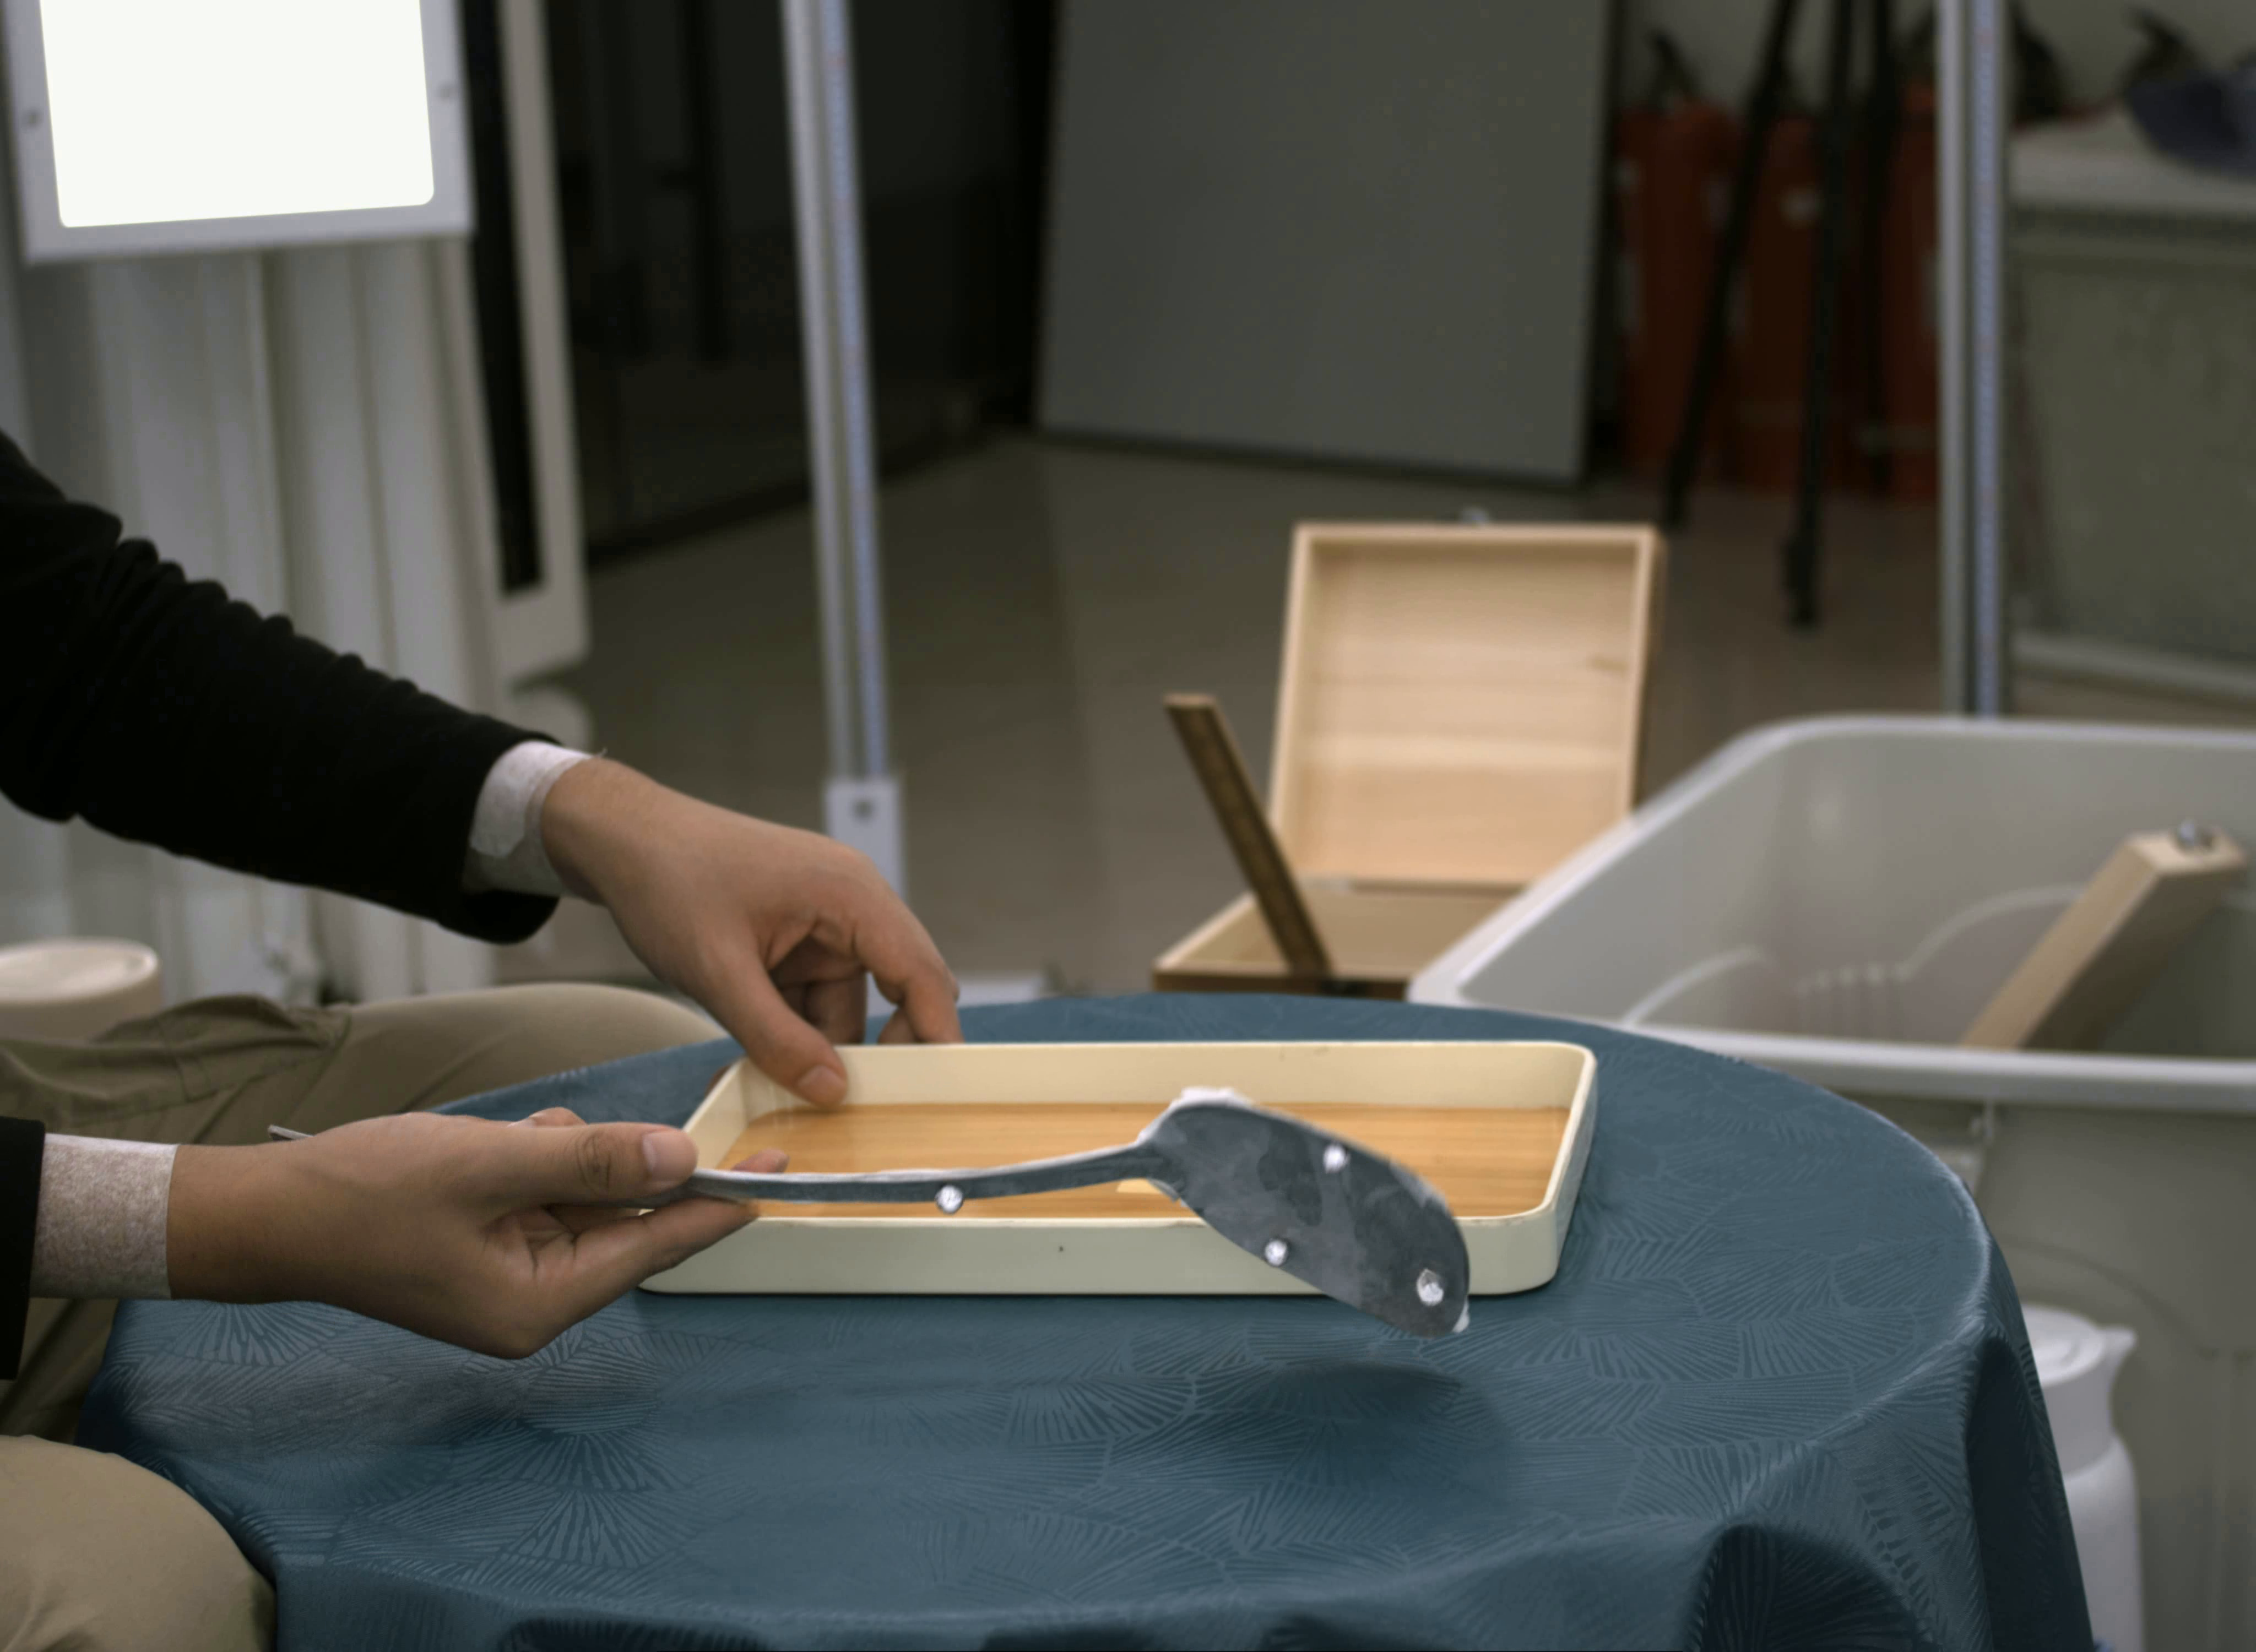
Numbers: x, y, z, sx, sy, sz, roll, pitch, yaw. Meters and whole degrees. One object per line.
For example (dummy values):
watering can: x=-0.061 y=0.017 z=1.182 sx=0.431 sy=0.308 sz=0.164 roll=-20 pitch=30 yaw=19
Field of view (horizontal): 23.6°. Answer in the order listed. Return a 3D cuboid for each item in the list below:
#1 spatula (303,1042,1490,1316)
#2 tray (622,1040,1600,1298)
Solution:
spatula: x=-0.072 y=0.100 z=1.589 sx=0.362 sy=0.099 sz=0.045 roll=-1 pitch=46 yaw=11
tray: x=-0.001 y=0.111 z=1.755 sx=0.298 sy=0.028 sz=0.190 roll=-1 pitch=14 yaw=12
